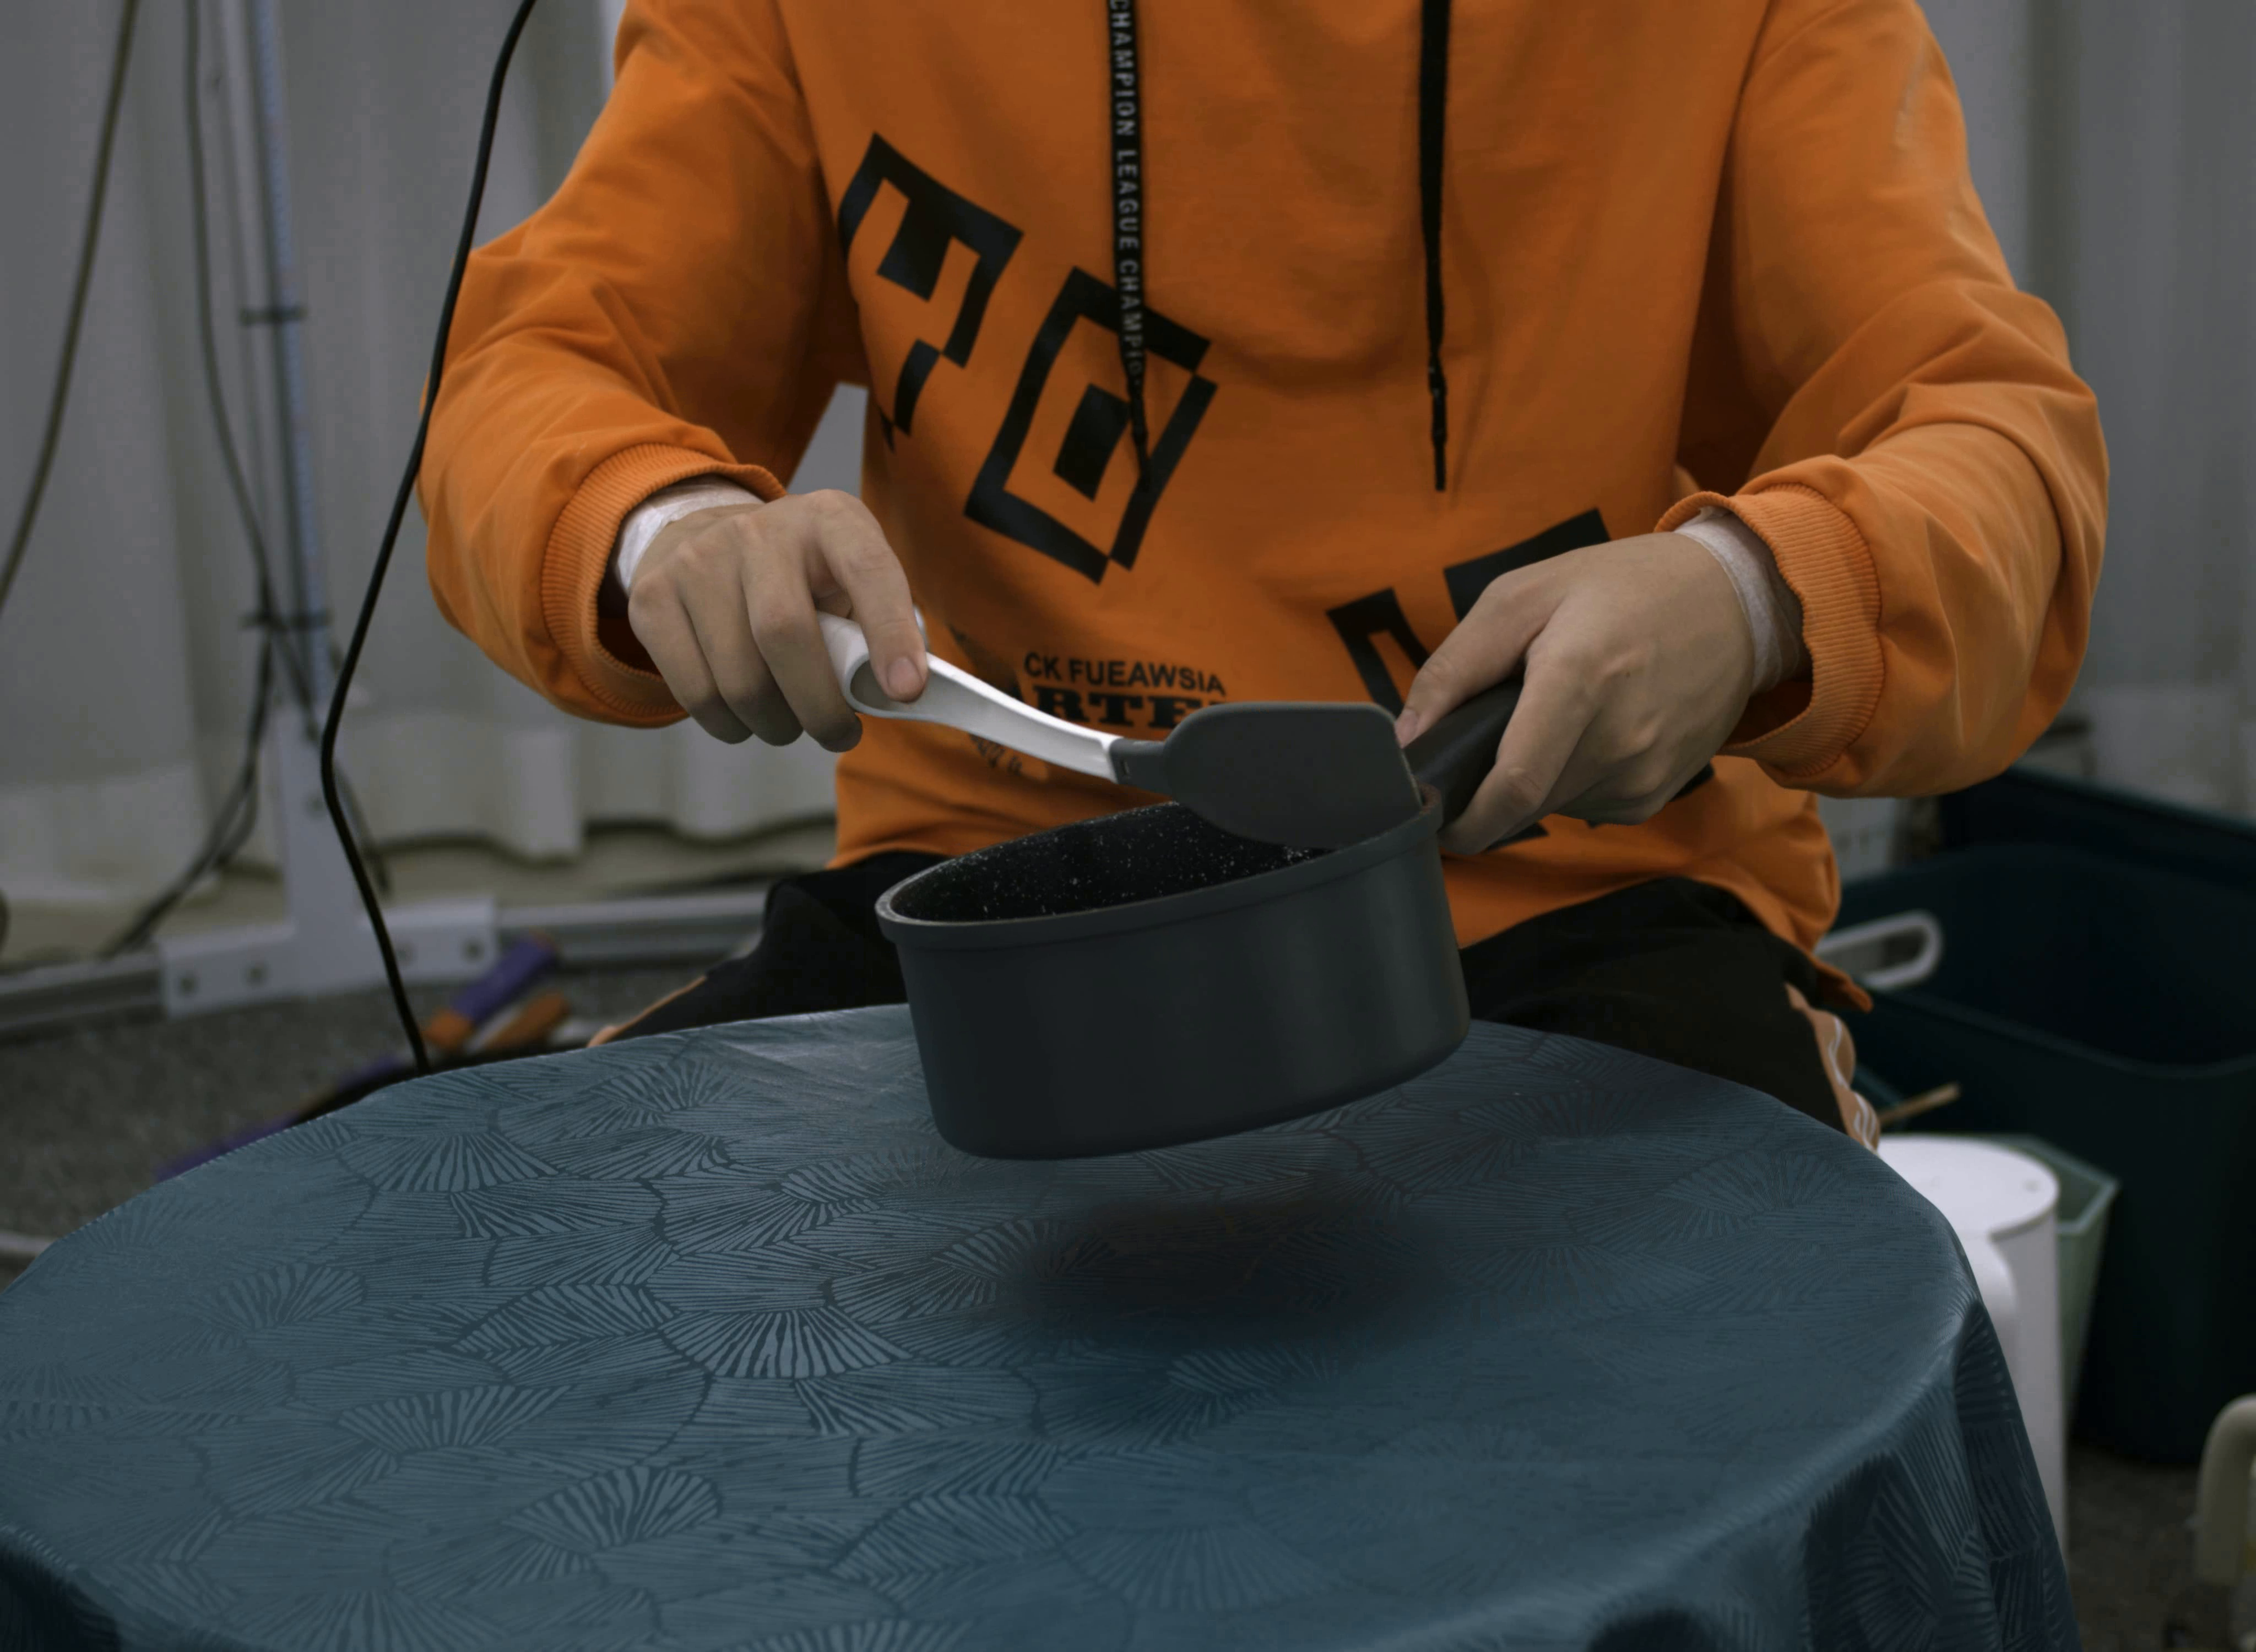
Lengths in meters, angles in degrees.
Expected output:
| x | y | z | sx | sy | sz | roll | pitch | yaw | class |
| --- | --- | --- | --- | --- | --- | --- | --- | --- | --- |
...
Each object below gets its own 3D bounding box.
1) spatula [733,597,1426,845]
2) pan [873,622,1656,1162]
| x | y | z | sx | sy | sz | roll | pitch | yaw | class |
| --- | --- | --- | --- | --- | --- | --- | --- | --- | --- |
| -0.019 | -0.033 | 1.694 | 0.032 | 0.058 | 0.289 | -33 | 32 | -34 | spatula |
| 0.064 | 0.019 | 1.681 | 0.172 | 0.086 | 0.329 | -3 | 14 | 41 | pan |
